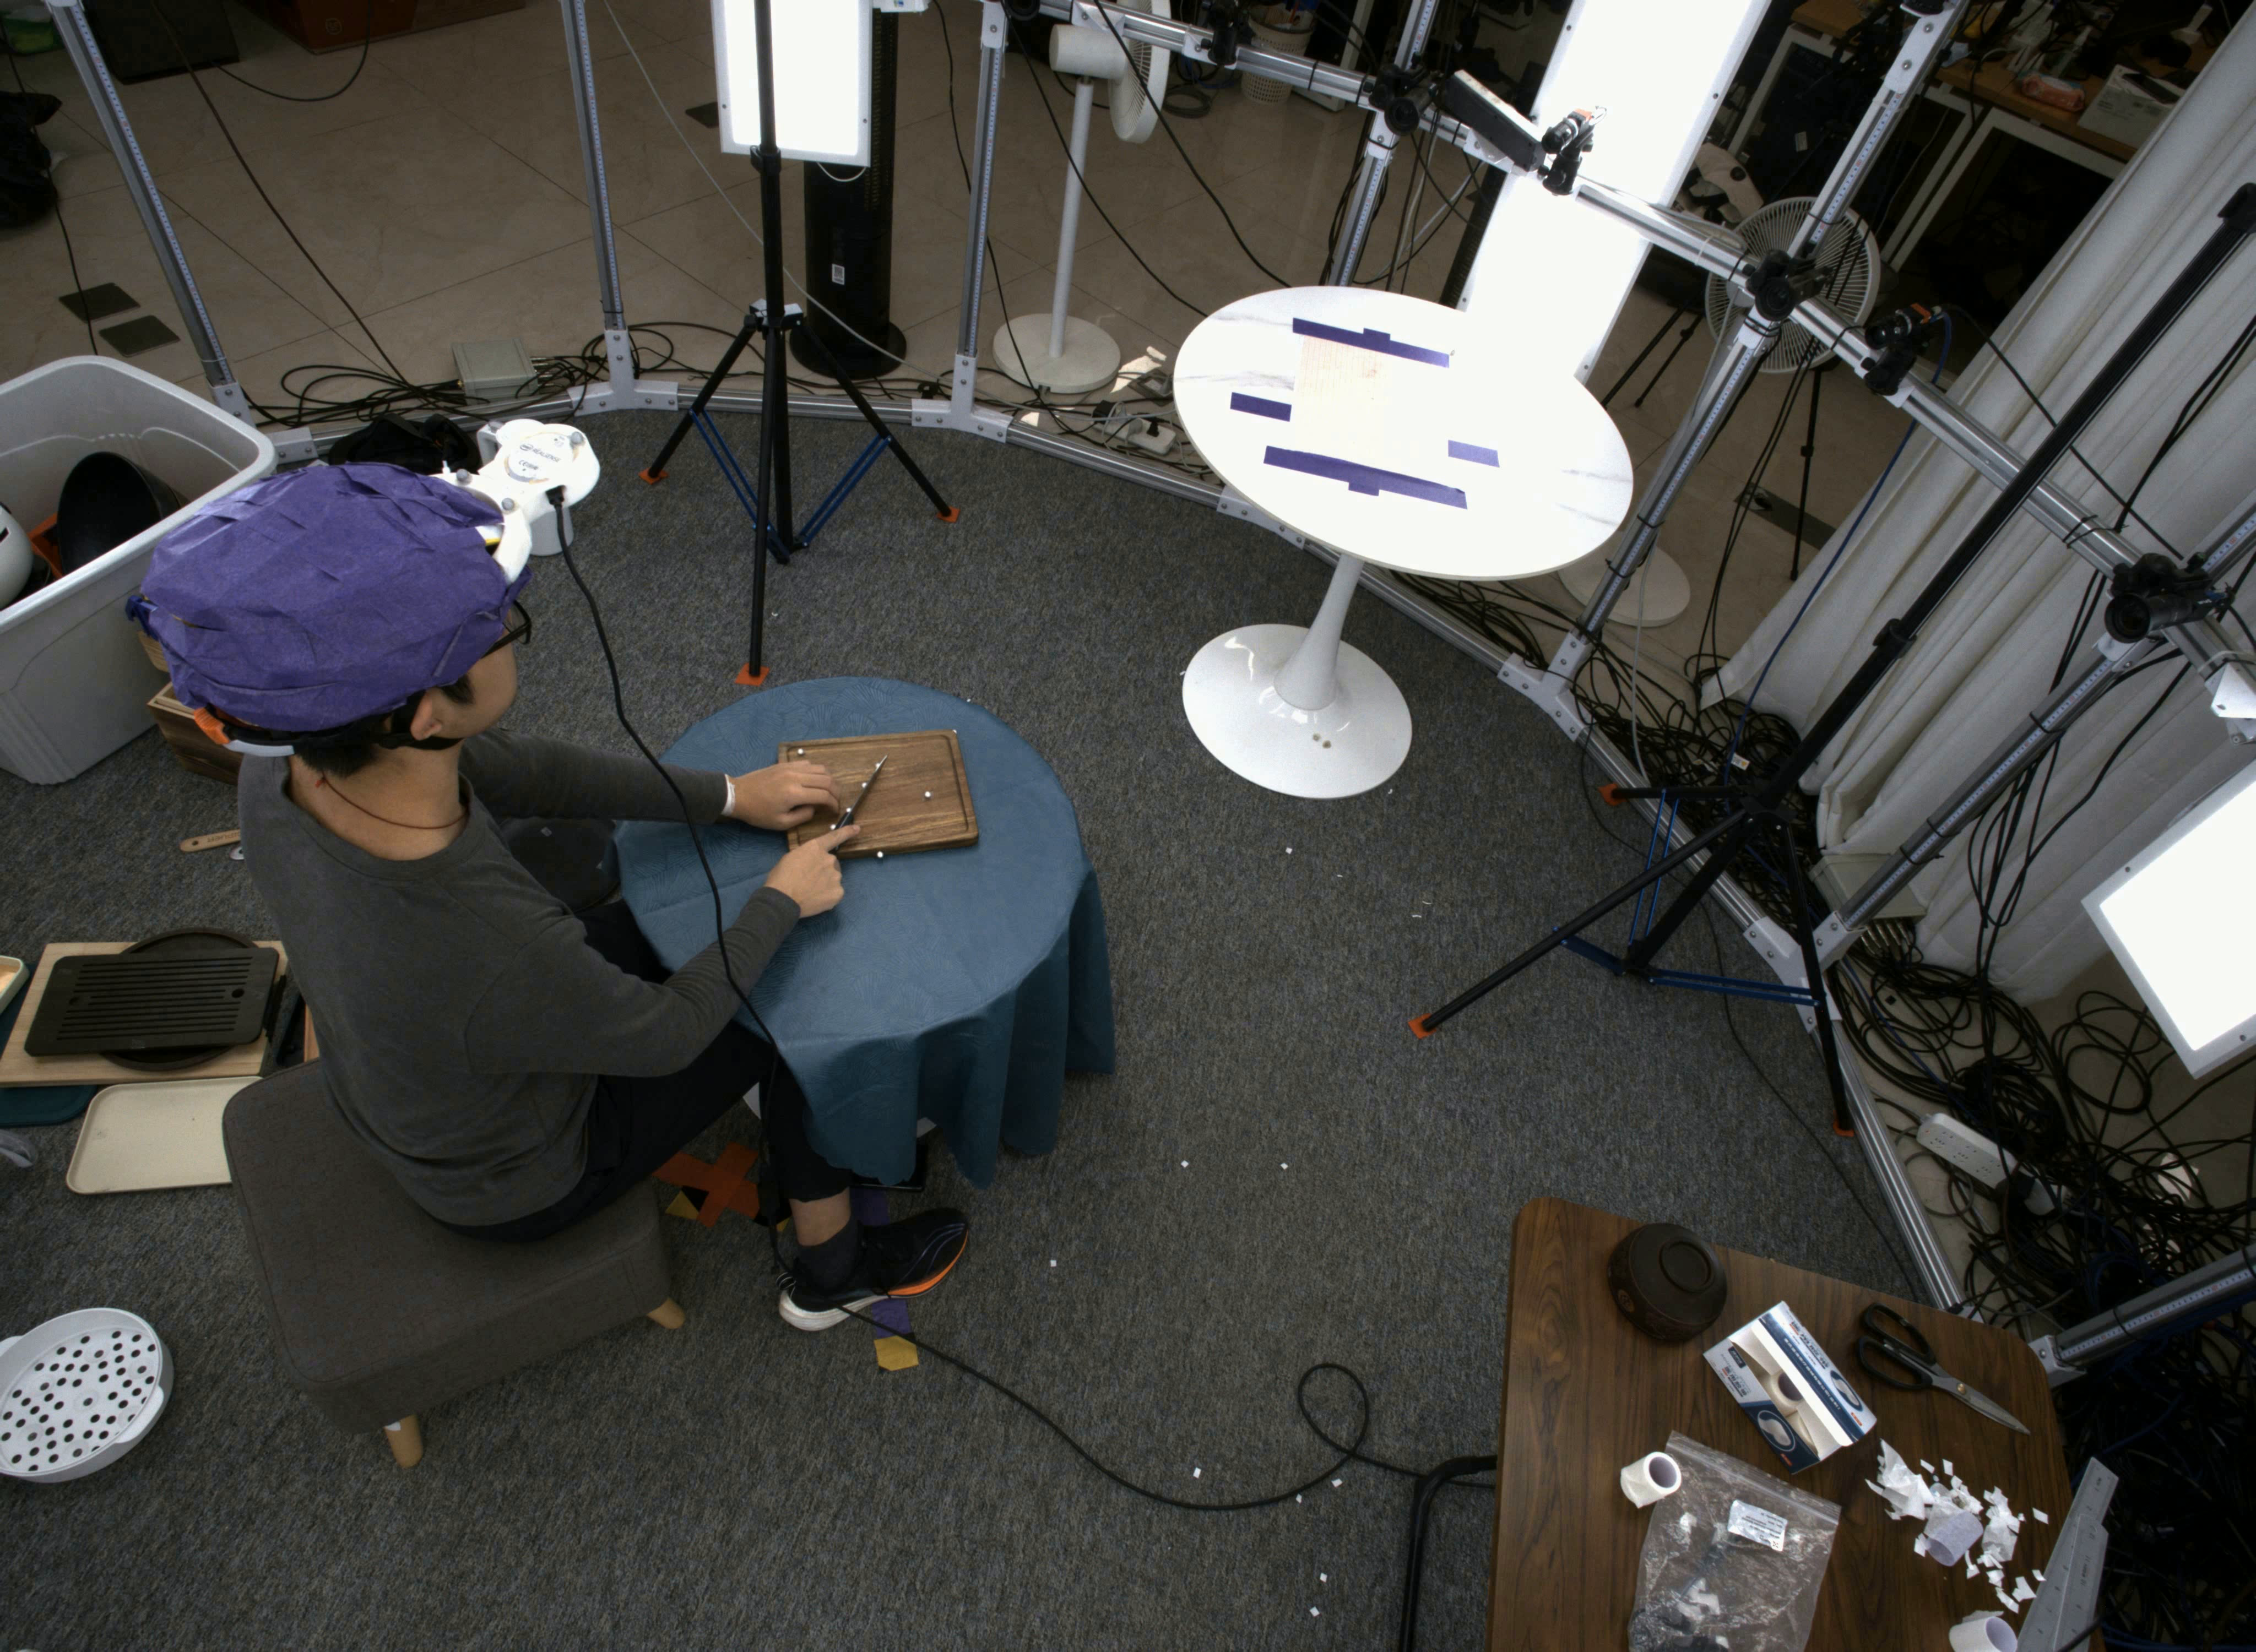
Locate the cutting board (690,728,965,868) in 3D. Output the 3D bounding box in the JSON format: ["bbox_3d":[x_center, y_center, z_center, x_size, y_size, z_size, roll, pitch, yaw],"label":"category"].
[{"bbox_3d":[-0.410,-0.038,1.754,0.353,0.023,0.196,-7,56,-19],"label":"cutting board"}]

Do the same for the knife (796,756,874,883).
[{"bbox_3d":[-0.384,-0.017,1.720,0.016,0.025,0.235,22,48,0],"label":"knife"}]
